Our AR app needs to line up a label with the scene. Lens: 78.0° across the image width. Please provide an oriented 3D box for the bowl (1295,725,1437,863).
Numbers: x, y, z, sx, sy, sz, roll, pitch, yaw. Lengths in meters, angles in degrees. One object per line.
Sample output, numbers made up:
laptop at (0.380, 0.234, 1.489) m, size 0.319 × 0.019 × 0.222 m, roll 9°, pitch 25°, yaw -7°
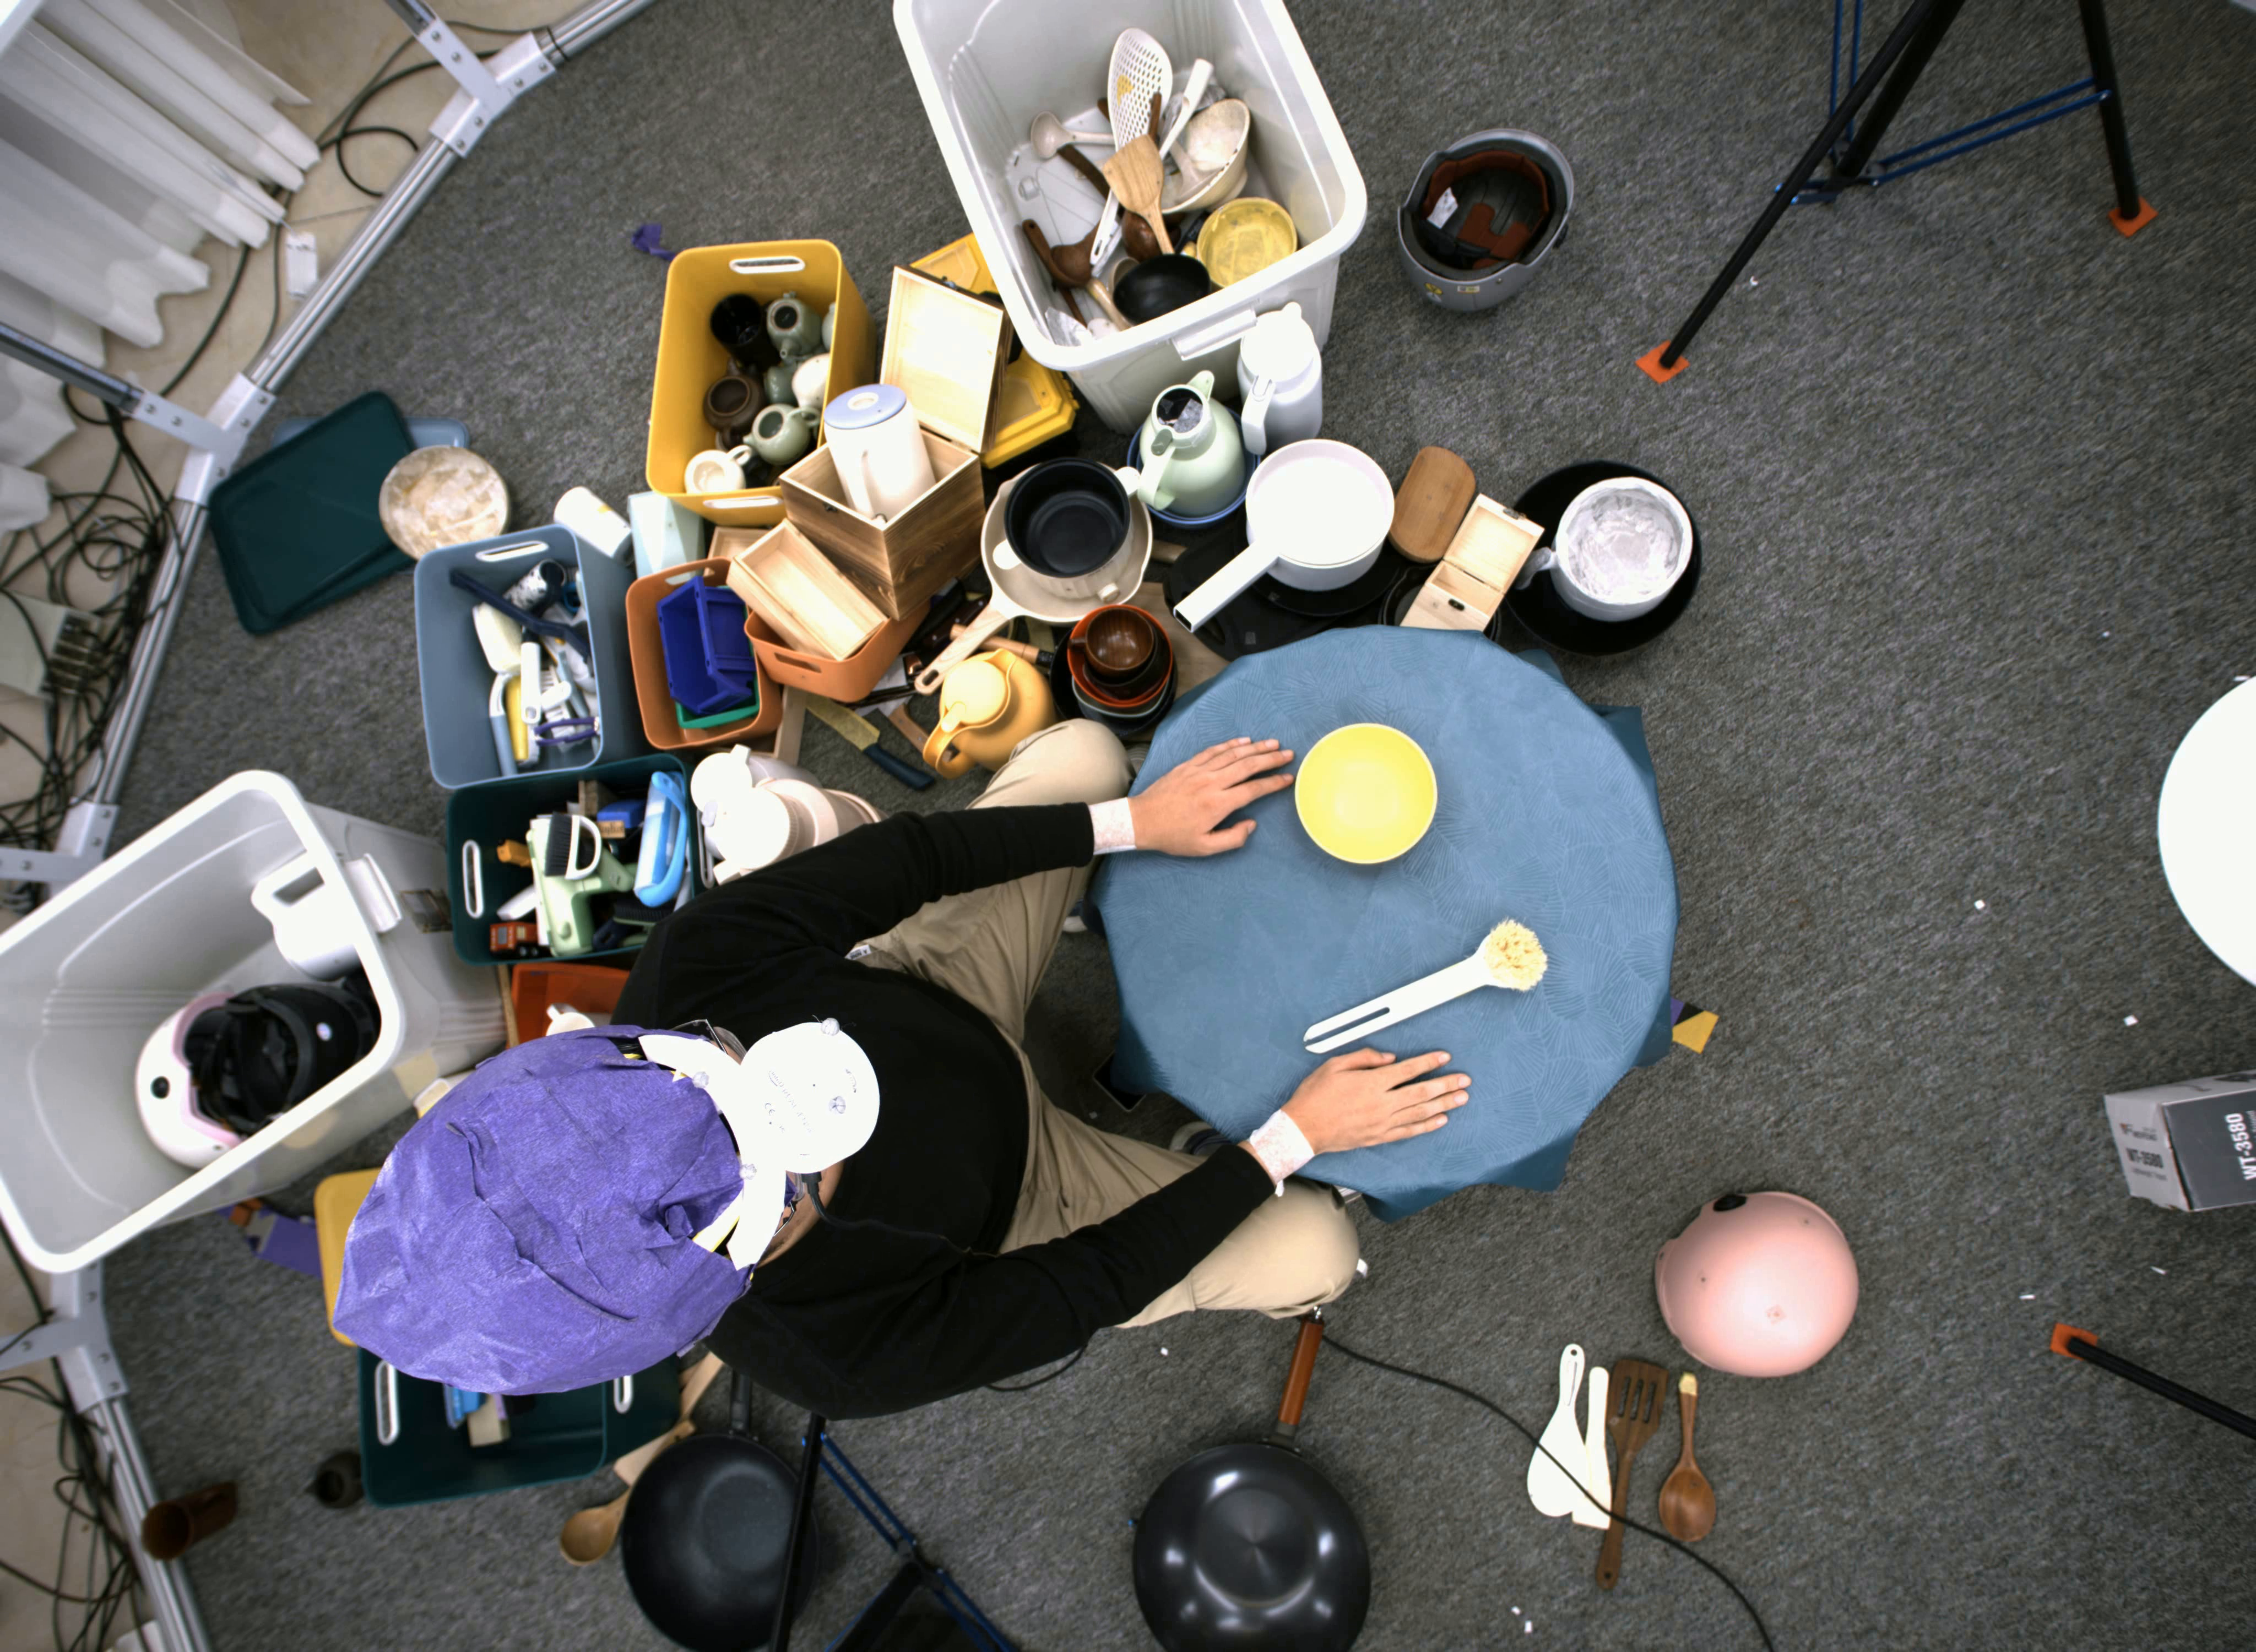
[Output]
bowl at (0.249, -0.031, 1.440) m, size 0.146 × 0.060 × 0.144 m, roll -1°, pitch 85°, yaw 11°

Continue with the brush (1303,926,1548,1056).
brush at (0.303, 0.177, 1.421) m, size 0.268 × 0.056 × 0.068 m, roll -24°, pitch 77°, yaw 9°
